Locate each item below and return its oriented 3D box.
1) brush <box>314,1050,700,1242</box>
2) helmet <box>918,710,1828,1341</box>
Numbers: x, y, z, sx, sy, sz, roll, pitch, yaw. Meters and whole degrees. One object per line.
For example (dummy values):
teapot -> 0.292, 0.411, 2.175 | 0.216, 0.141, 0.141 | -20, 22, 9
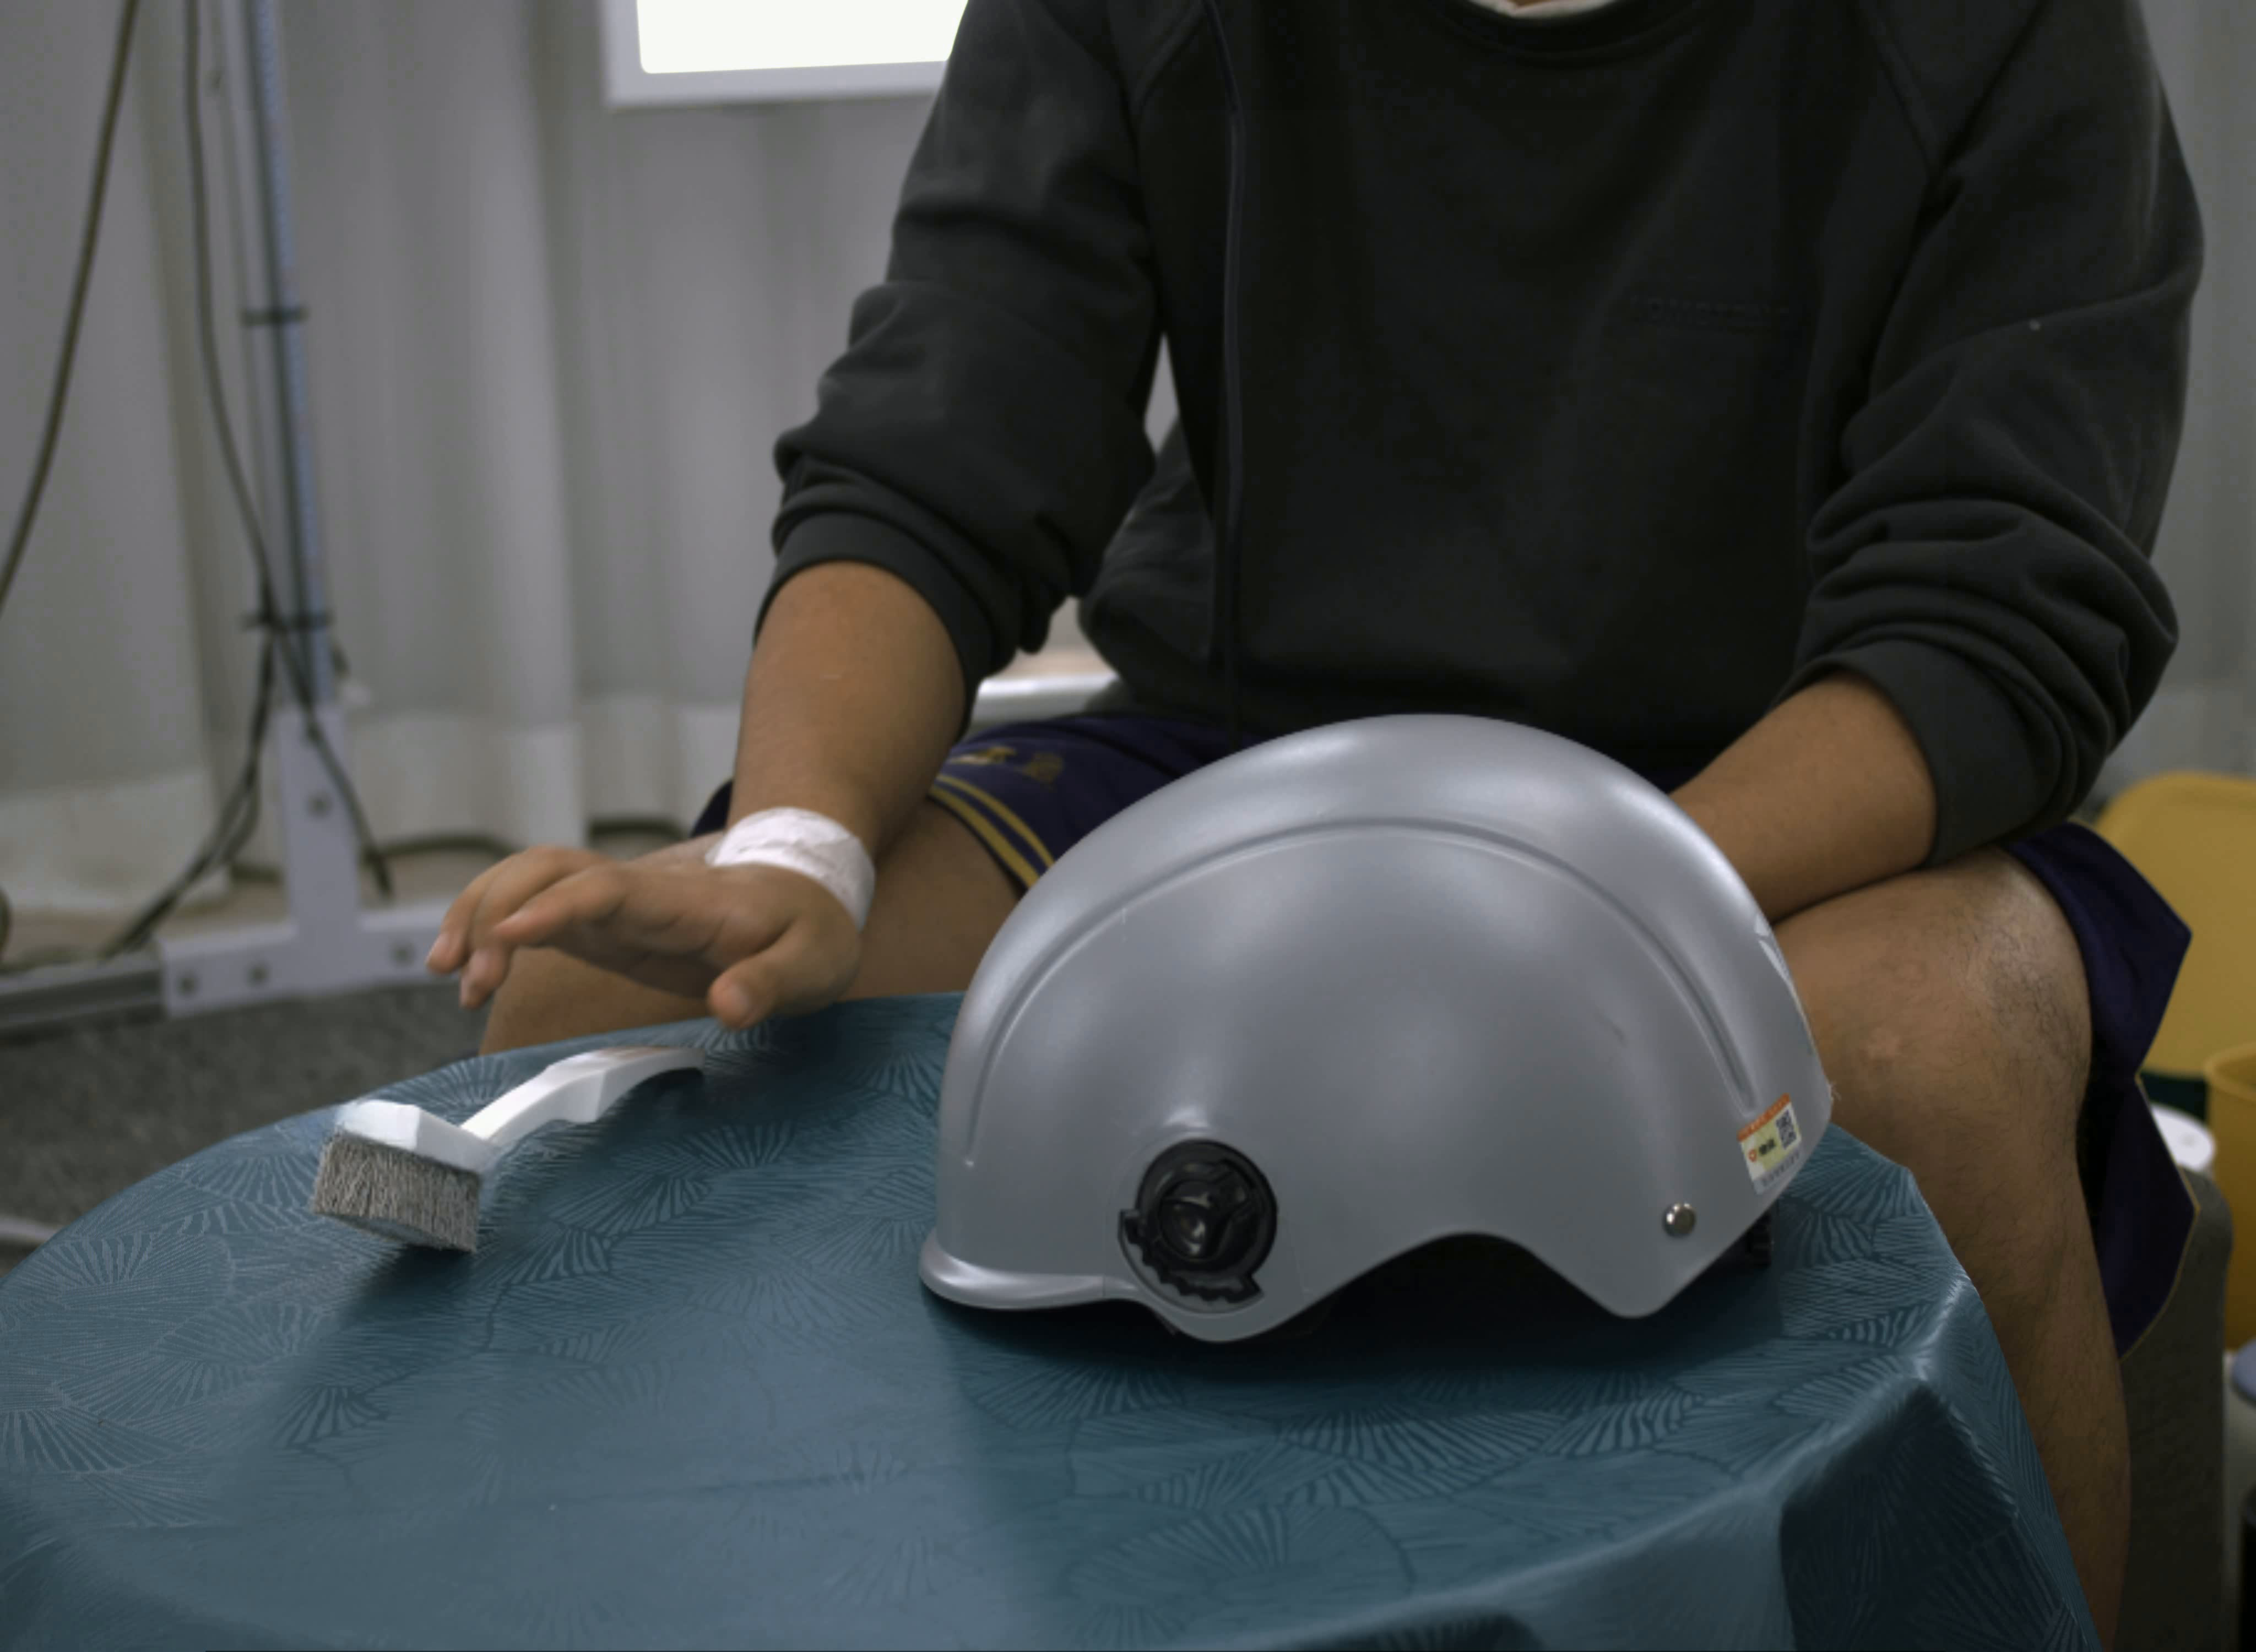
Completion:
brush -> -0.193, 0.102, 1.757 | 0.034, 0.050, 0.243 | 2, 2, 19
helmet -> 0.068, 0.052, 1.626 | 0.276, 0.168, 0.233 | -2, 12, 11
